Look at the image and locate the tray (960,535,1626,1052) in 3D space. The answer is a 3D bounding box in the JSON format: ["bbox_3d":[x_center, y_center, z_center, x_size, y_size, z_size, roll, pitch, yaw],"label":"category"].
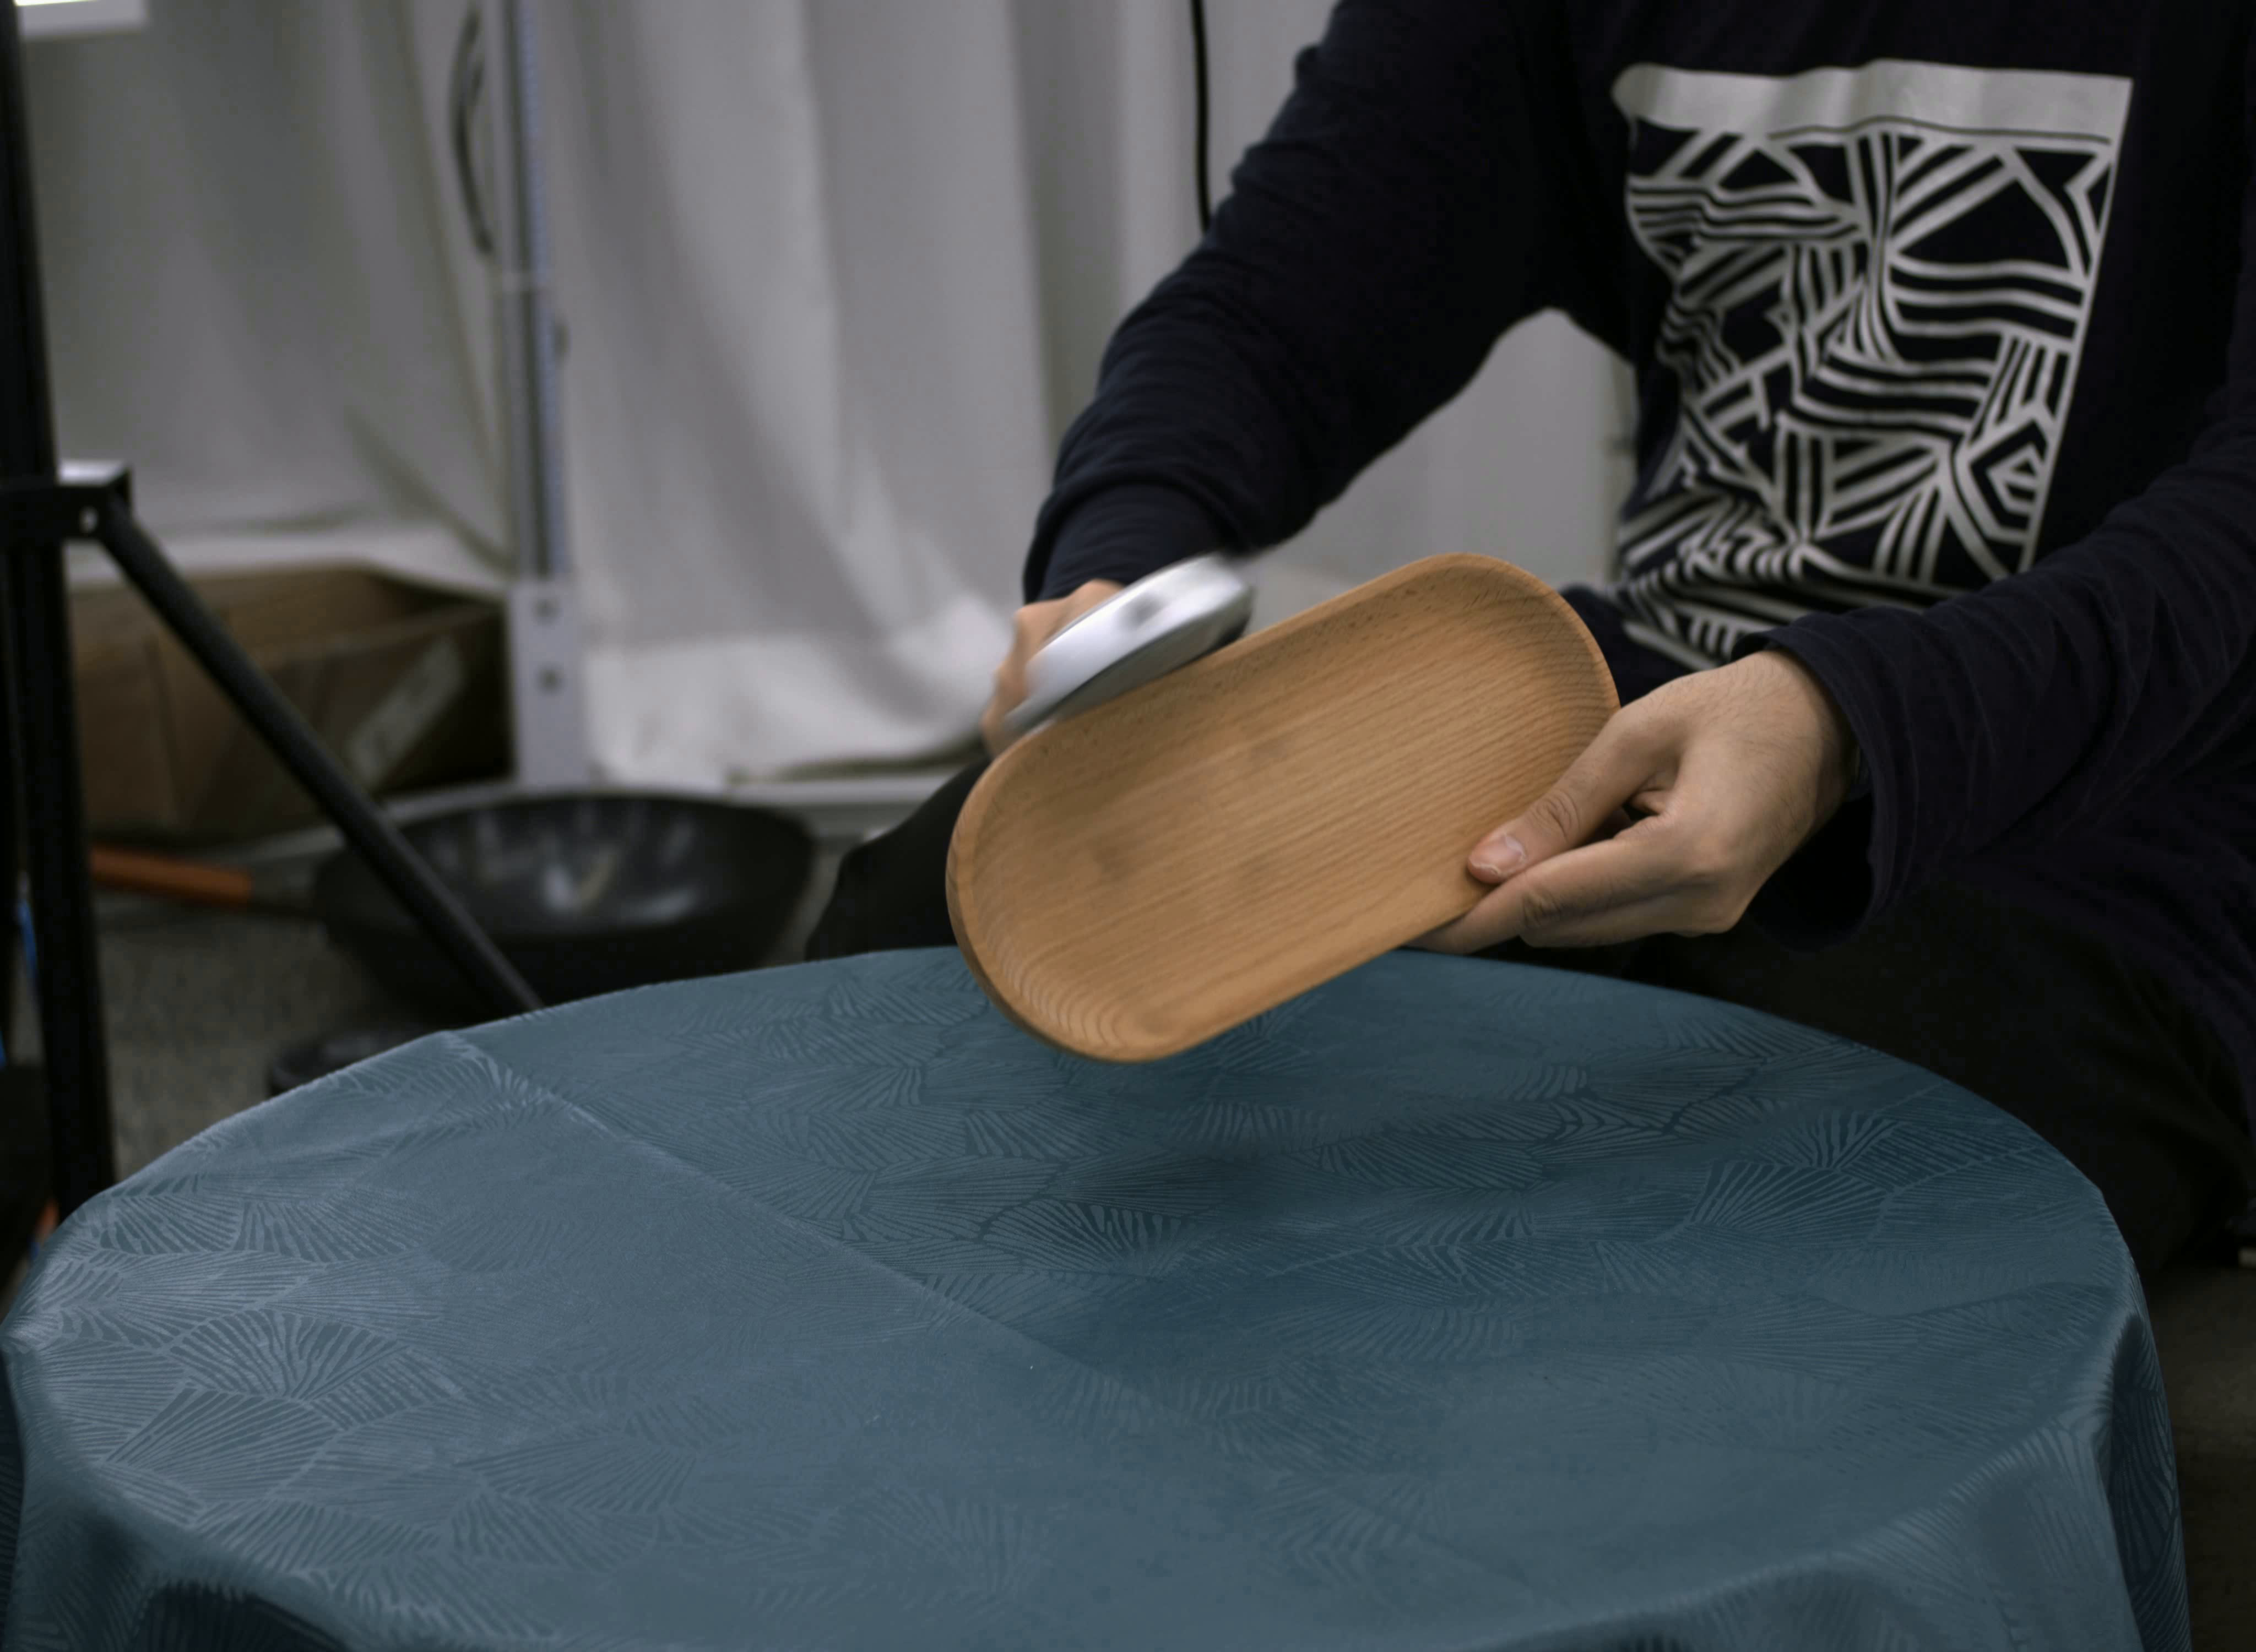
[{"bbox_3d":[0.050,-0.010,1.547,0.227,0.102,0.020,-25,2,-28],"label":"tray"}]

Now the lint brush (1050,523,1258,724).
[{"bbox_3d":[0.004,-0.047,1.621,0.060,0.021,0.309,-33,-5,-8],"label":"lint brush"}]
